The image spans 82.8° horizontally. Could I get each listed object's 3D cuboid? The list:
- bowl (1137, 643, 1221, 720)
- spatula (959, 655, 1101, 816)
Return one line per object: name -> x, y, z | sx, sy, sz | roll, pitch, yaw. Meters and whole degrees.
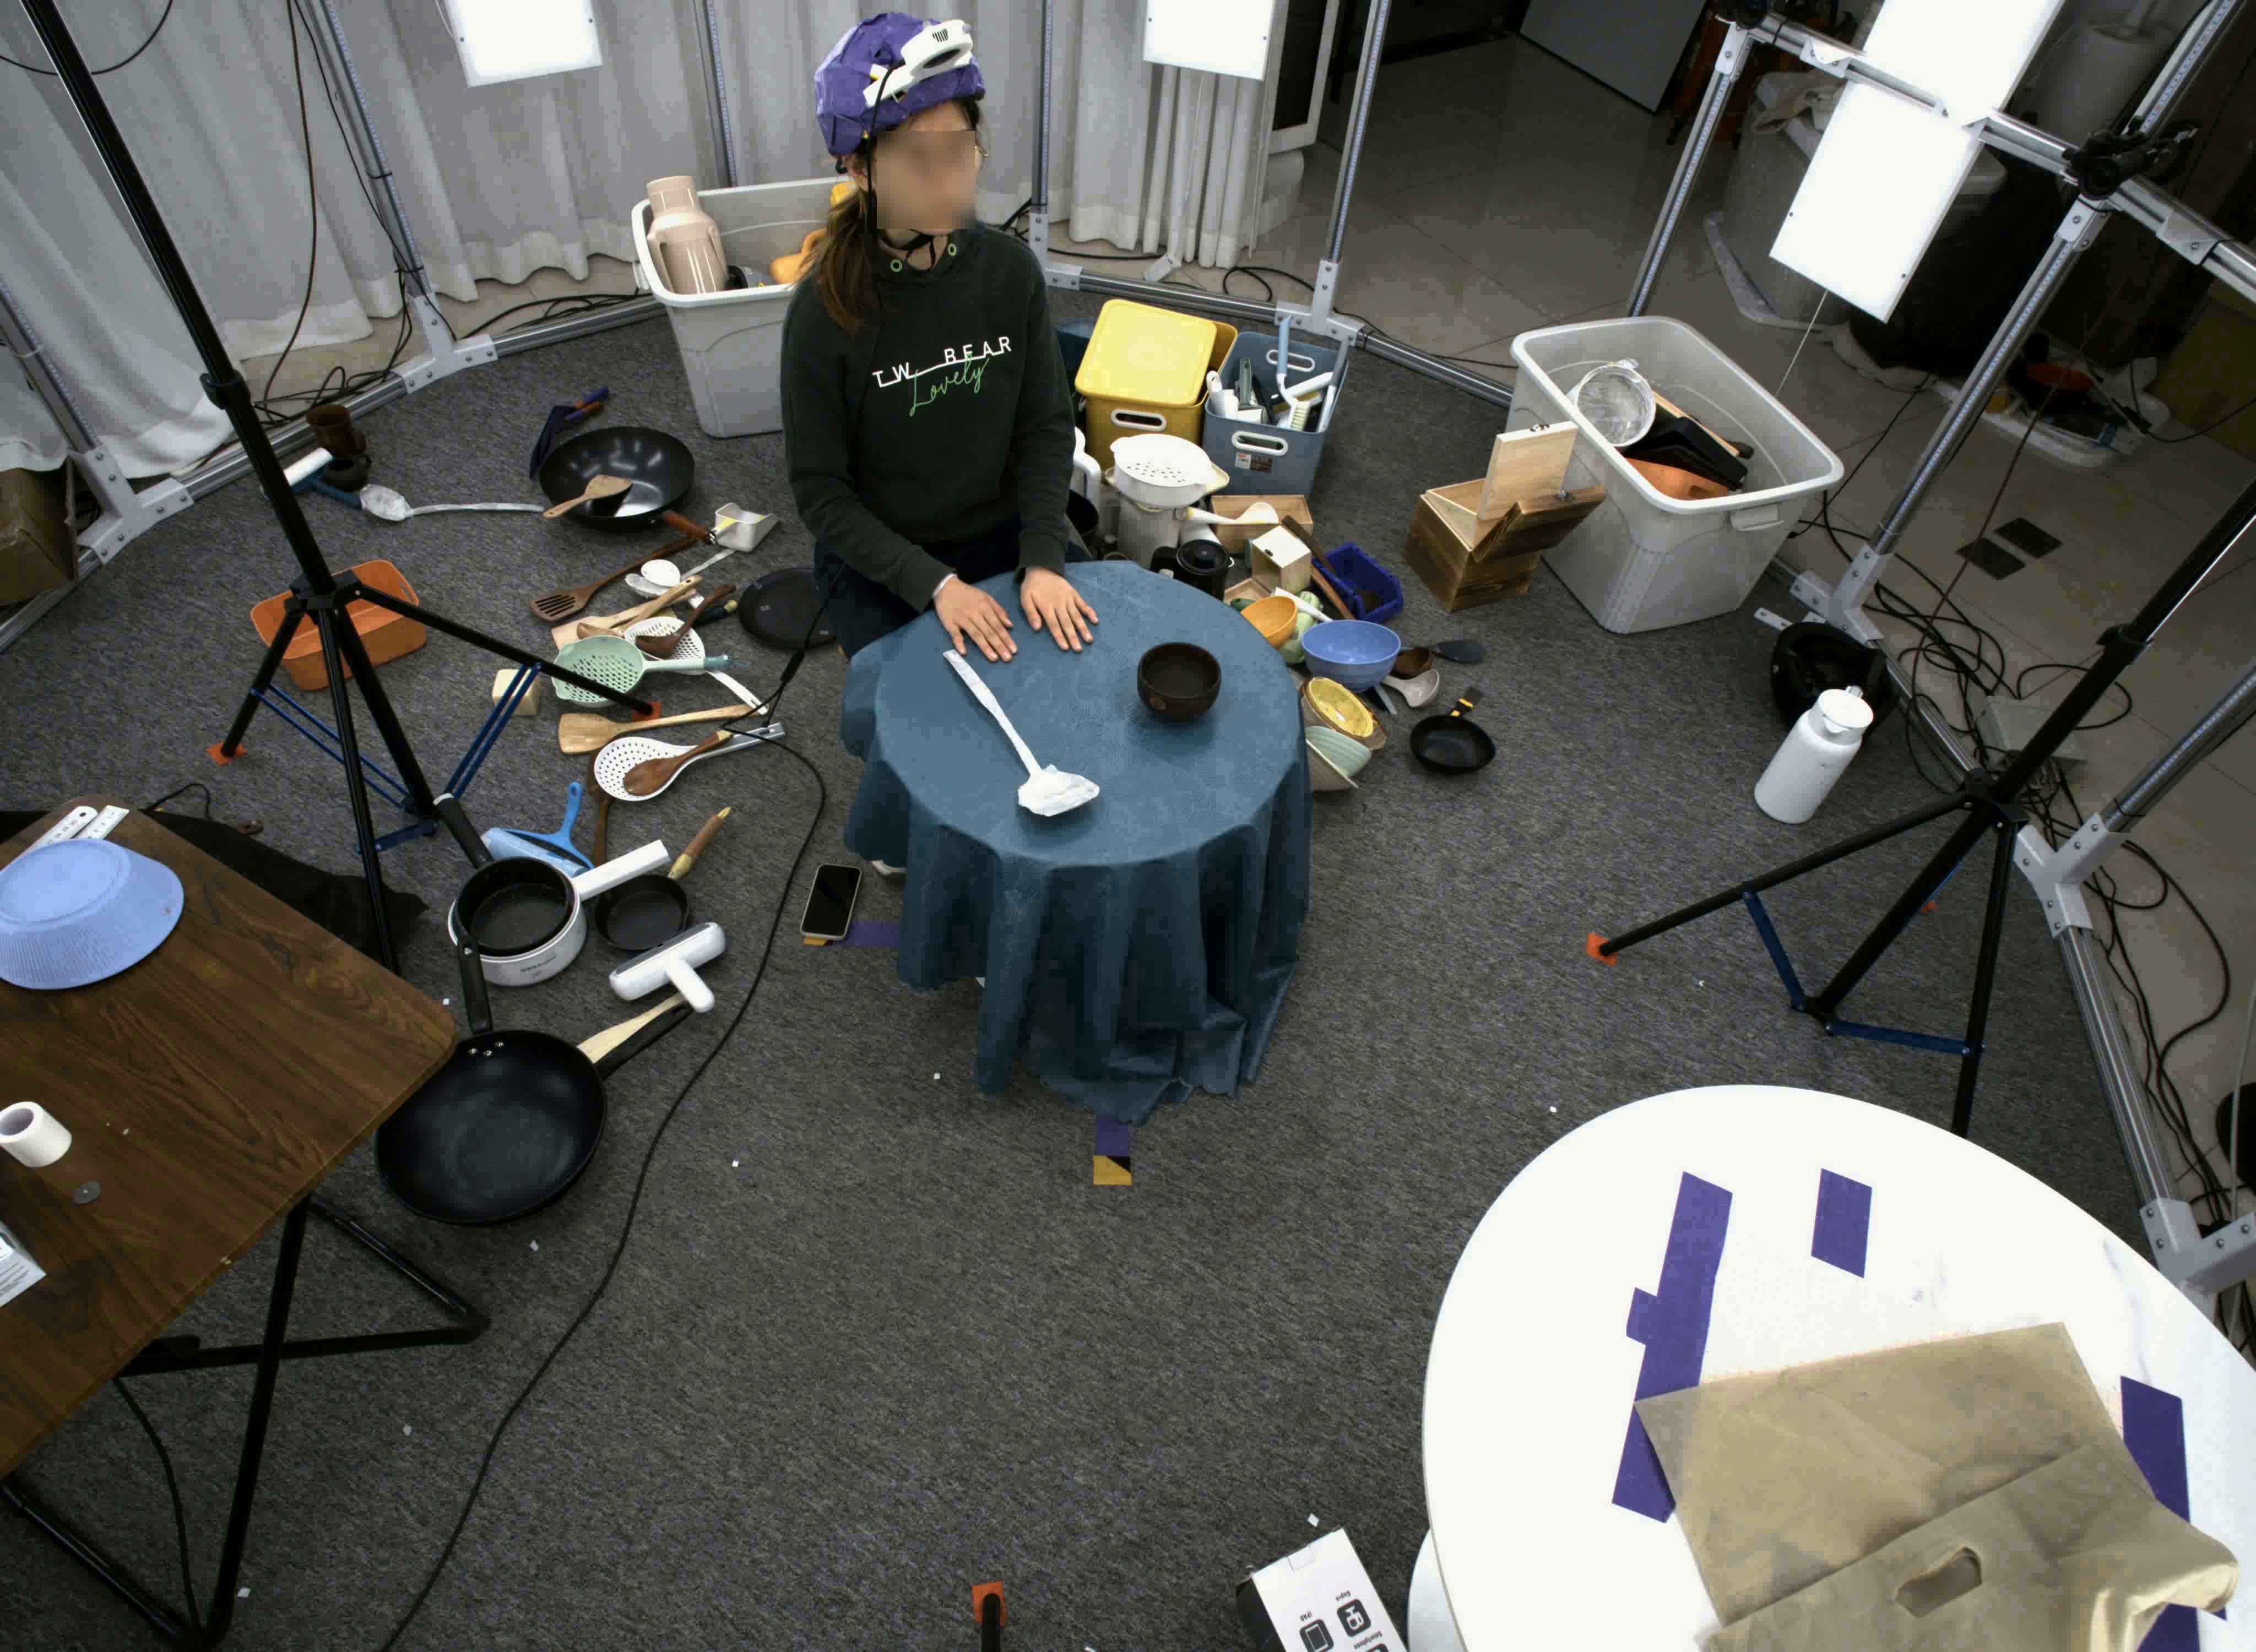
bowl -> 0.071, -0.195, 1.812 | 0.118, 0.068, 0.121 | 3, 47, -3
spatula -> -0.157, -0.135, 1.766 | 0.099, 0.043, 0.373 | -22, 54, -19
